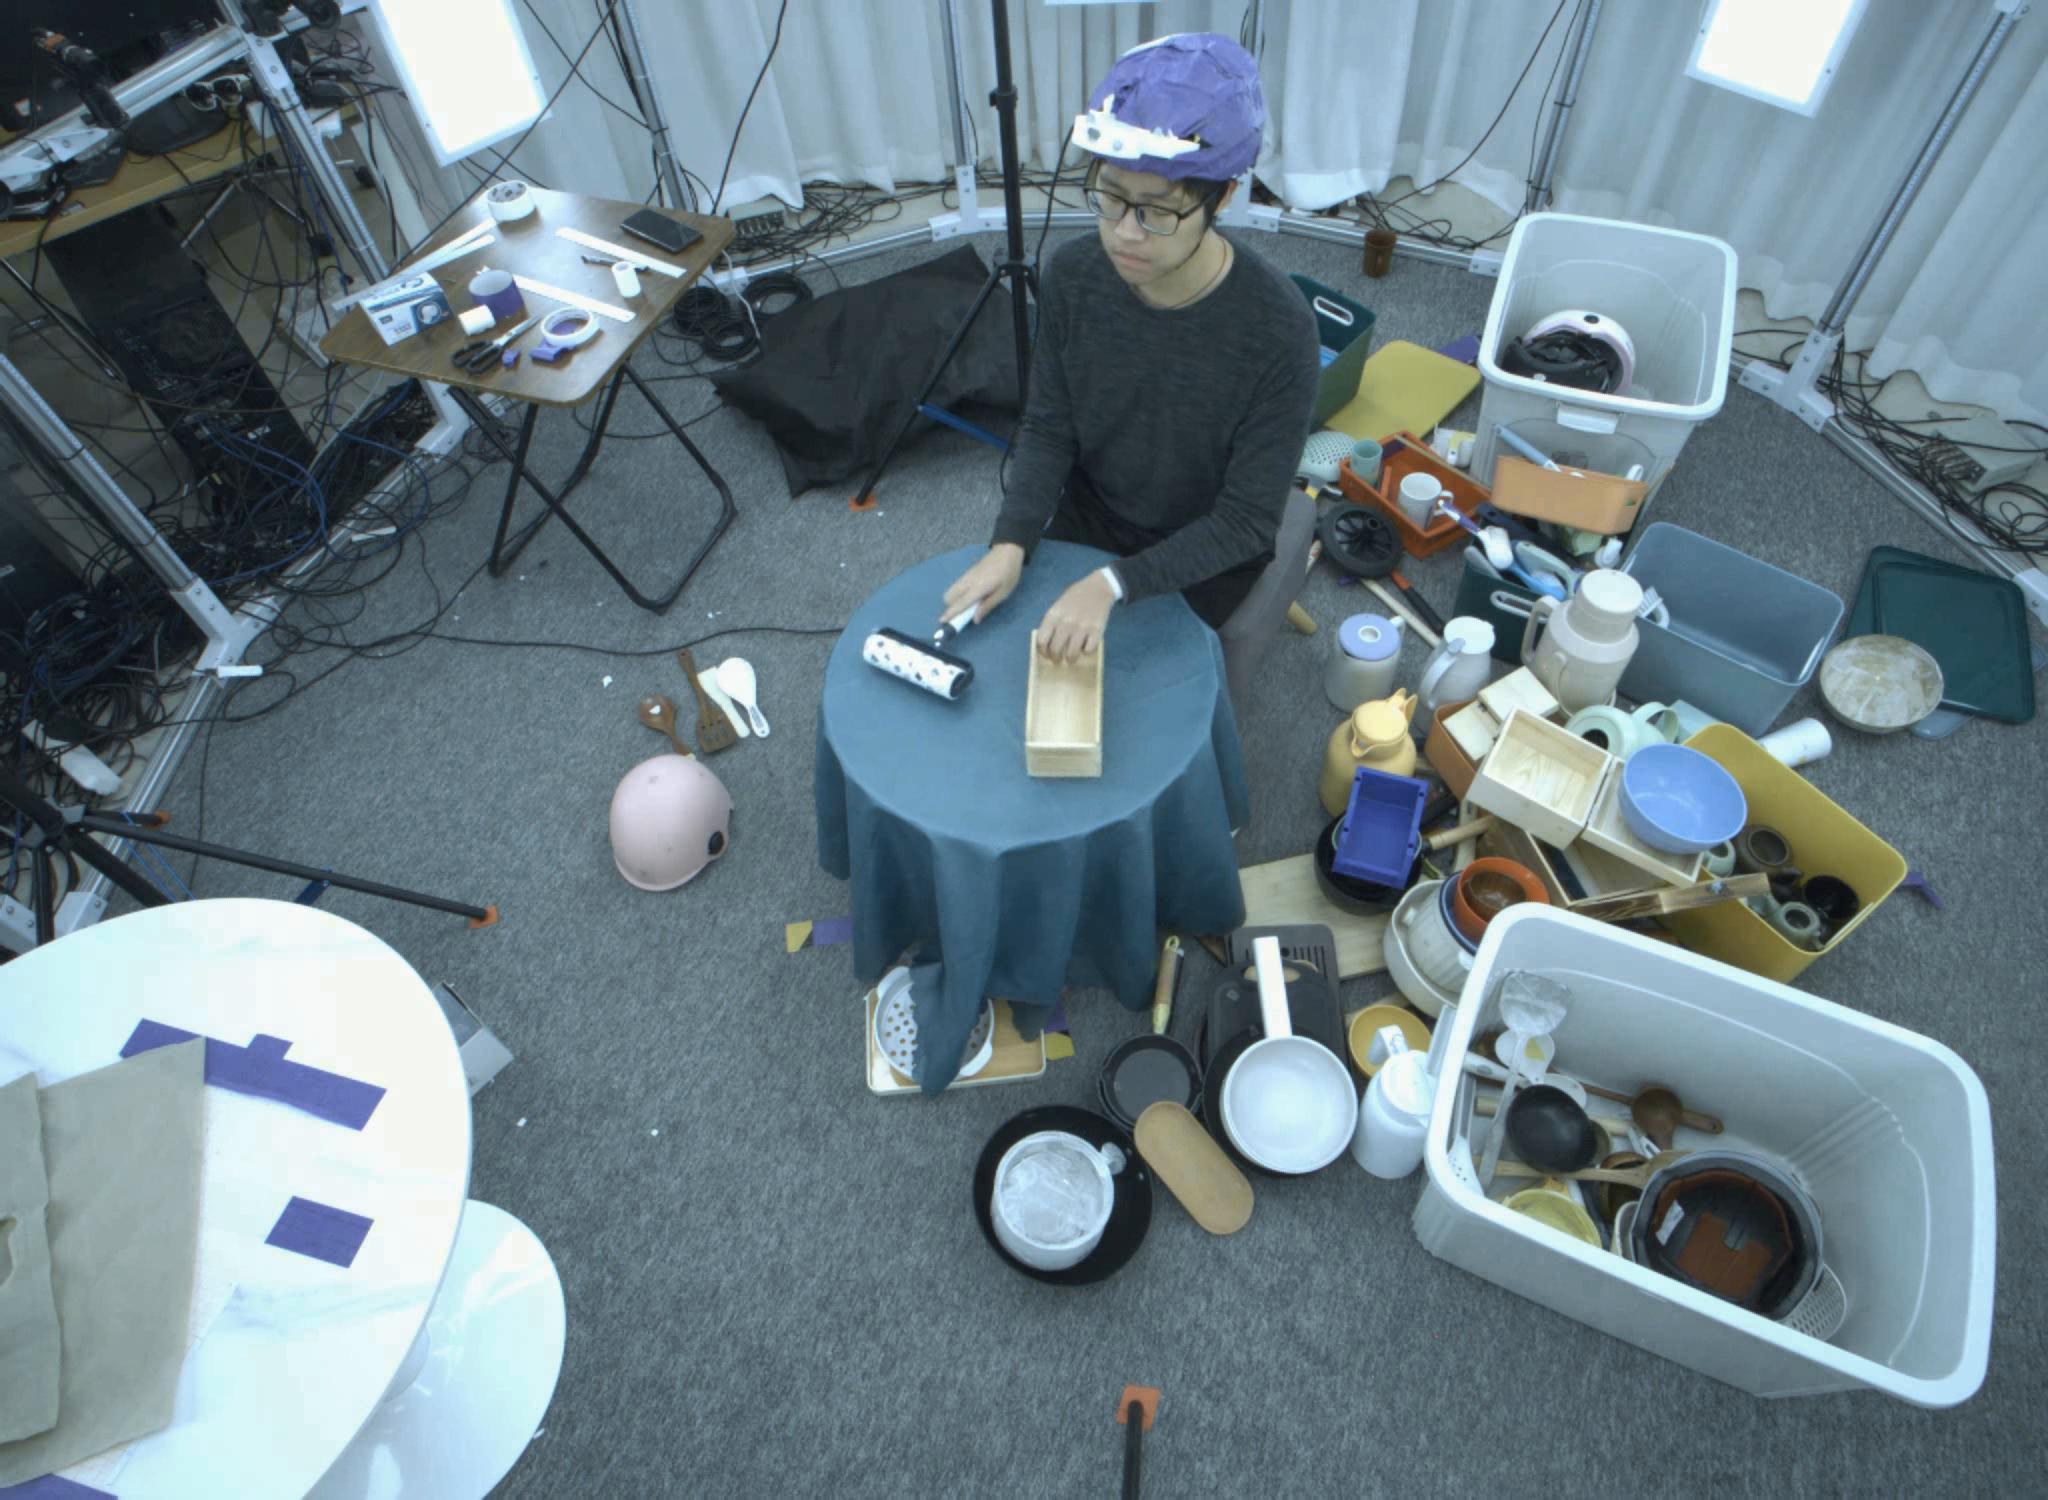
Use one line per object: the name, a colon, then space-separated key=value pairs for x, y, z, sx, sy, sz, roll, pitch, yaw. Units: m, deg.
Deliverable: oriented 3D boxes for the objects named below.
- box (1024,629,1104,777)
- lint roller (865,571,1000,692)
box: x=0.061 y=-0.070 z=1.786 sx=0.107 sy=0.081 sz=0.209 roll=1 pitch=54 yaw=3
lint roller: x=-0.112 y=-0.201 z=1.890 sx=0.173 sy=0.051 sz=0.248 roll=20 pitch=56 yaw=25
